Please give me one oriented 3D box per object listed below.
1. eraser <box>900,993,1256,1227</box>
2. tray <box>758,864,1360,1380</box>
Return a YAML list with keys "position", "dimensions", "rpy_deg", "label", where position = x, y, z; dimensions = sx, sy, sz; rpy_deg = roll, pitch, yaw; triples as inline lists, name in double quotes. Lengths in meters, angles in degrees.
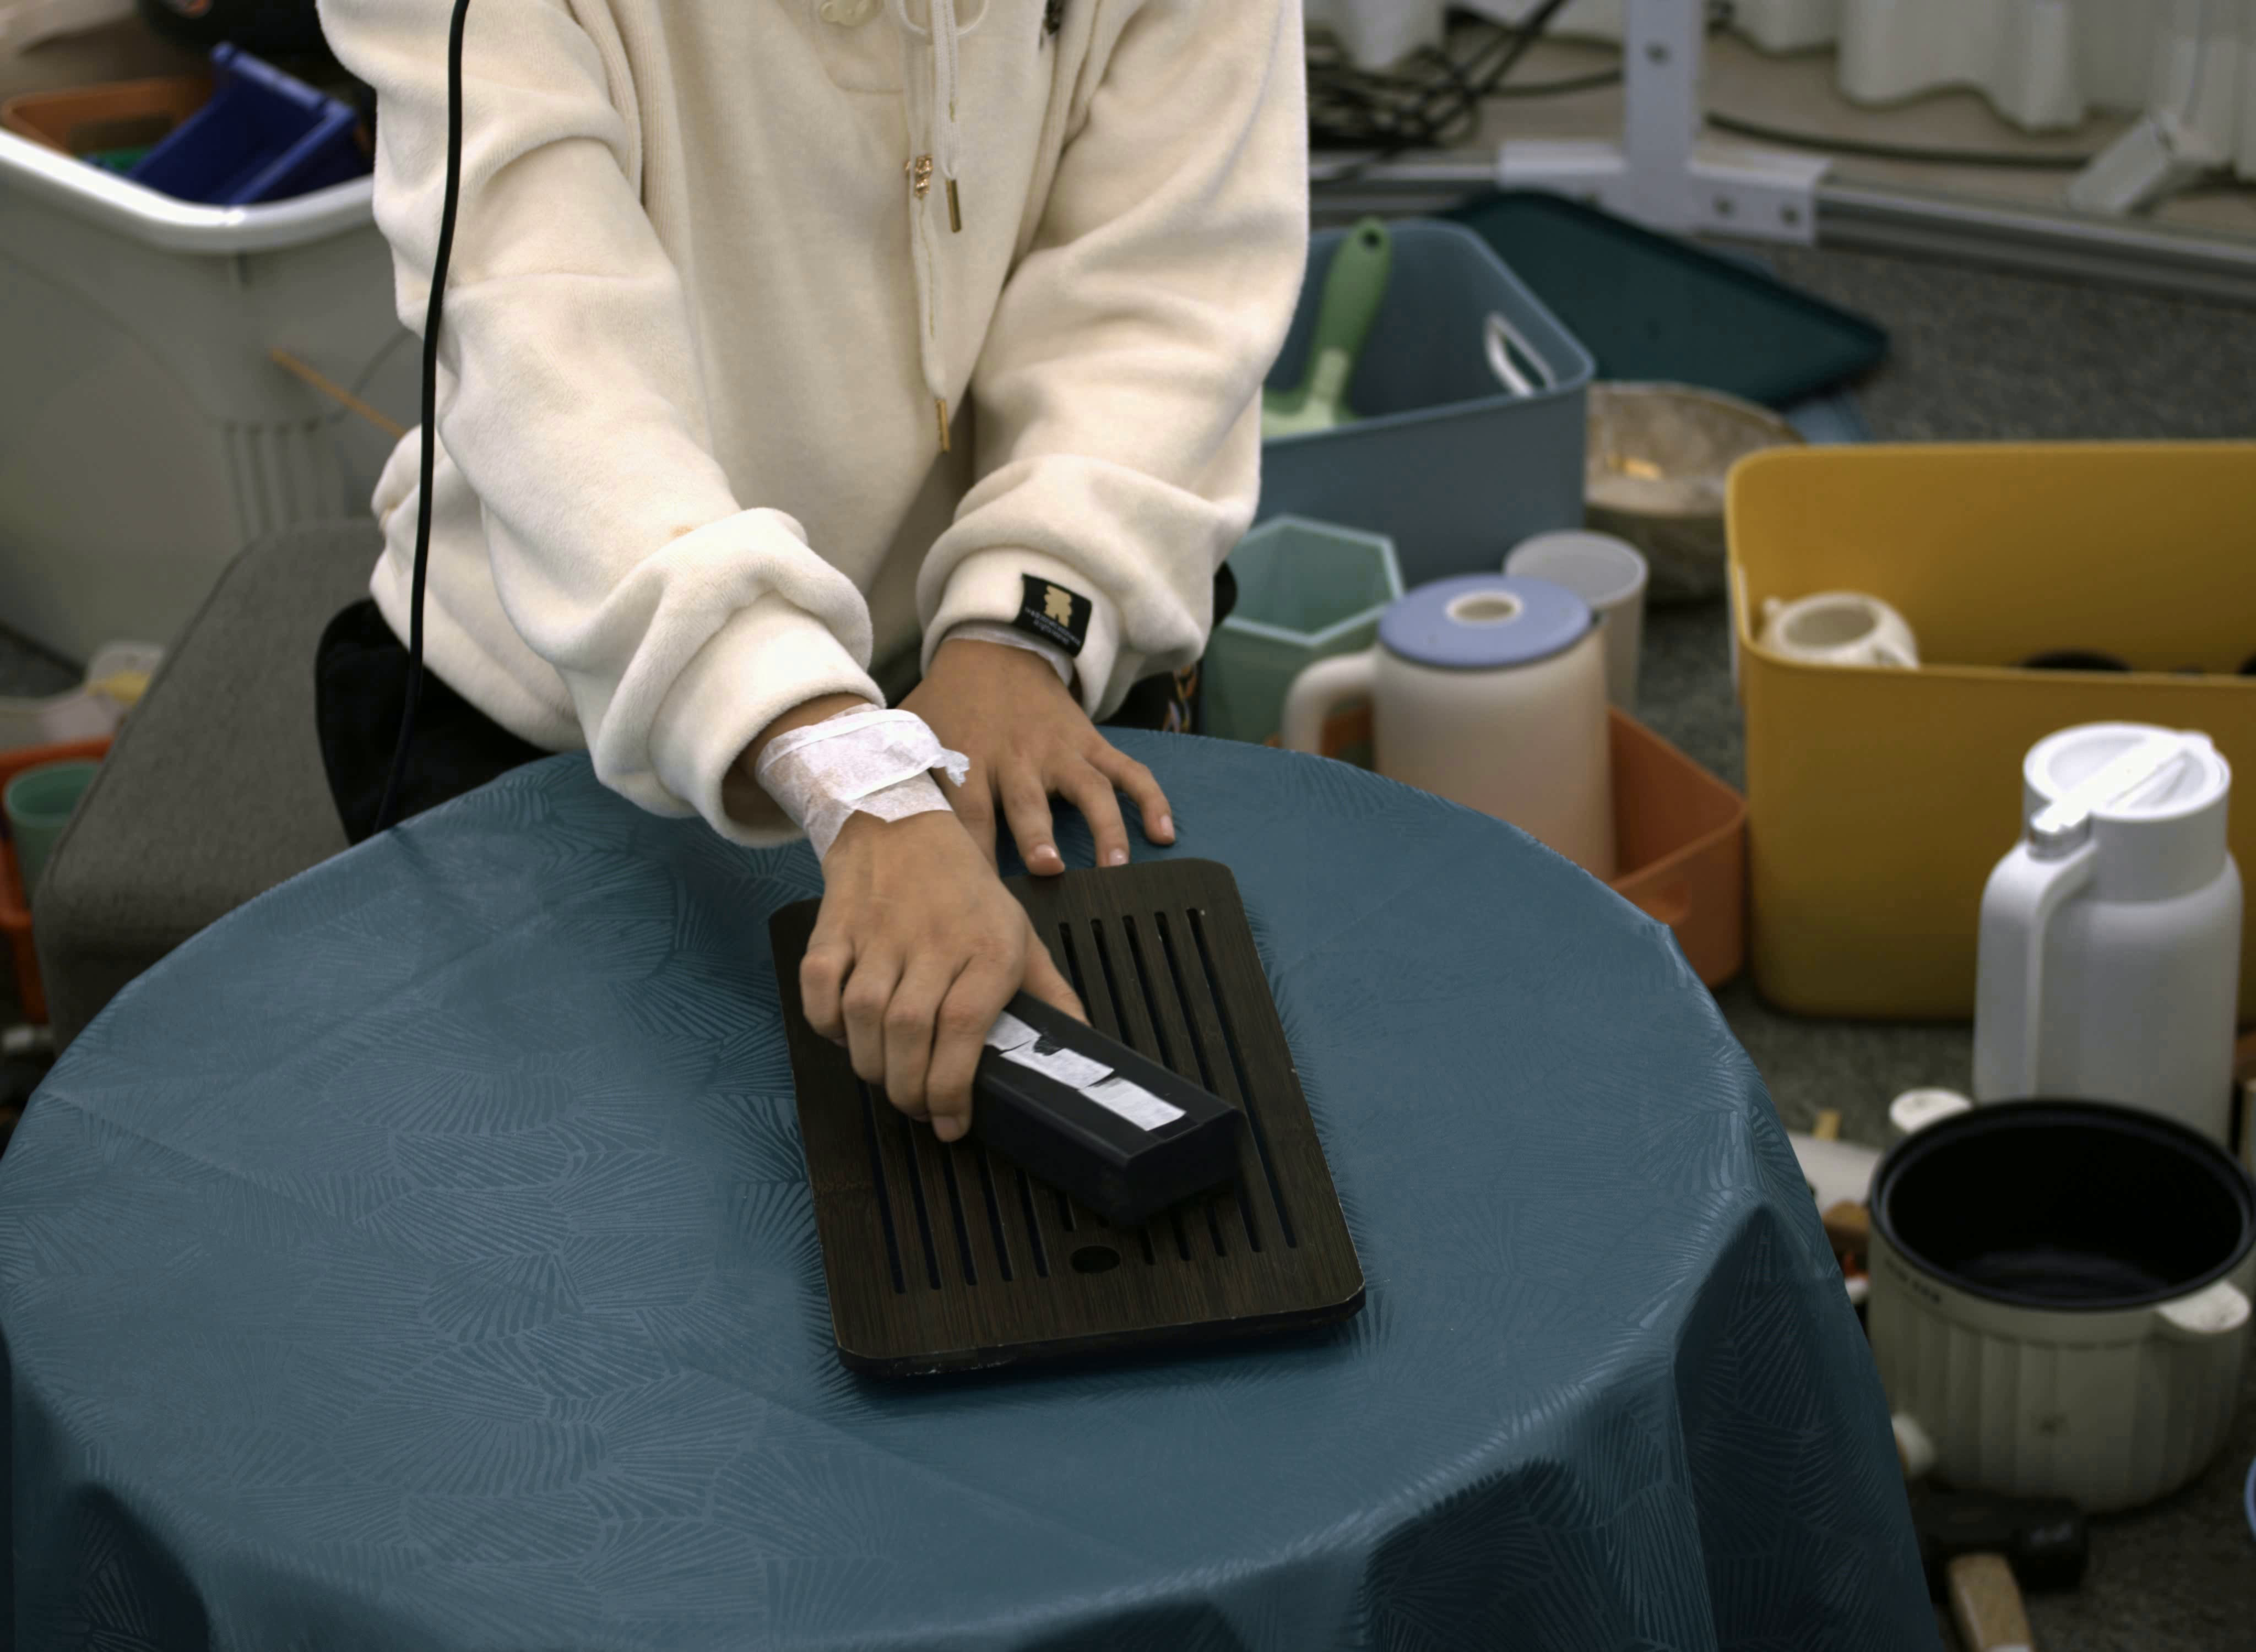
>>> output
- position: [-0.017, 0.093, 1.854]
  dimensions: [0.054, 0.030, 0.125]
  rpy_deg: [-19, 30, -36]
  label: "eraser"
- position: [-0.029, 0.097, 1.892]
  dimensions: [0.170, 0.018, 0.310]
  rpy_deg: [-6, 28, -6]
  label: "tray"
